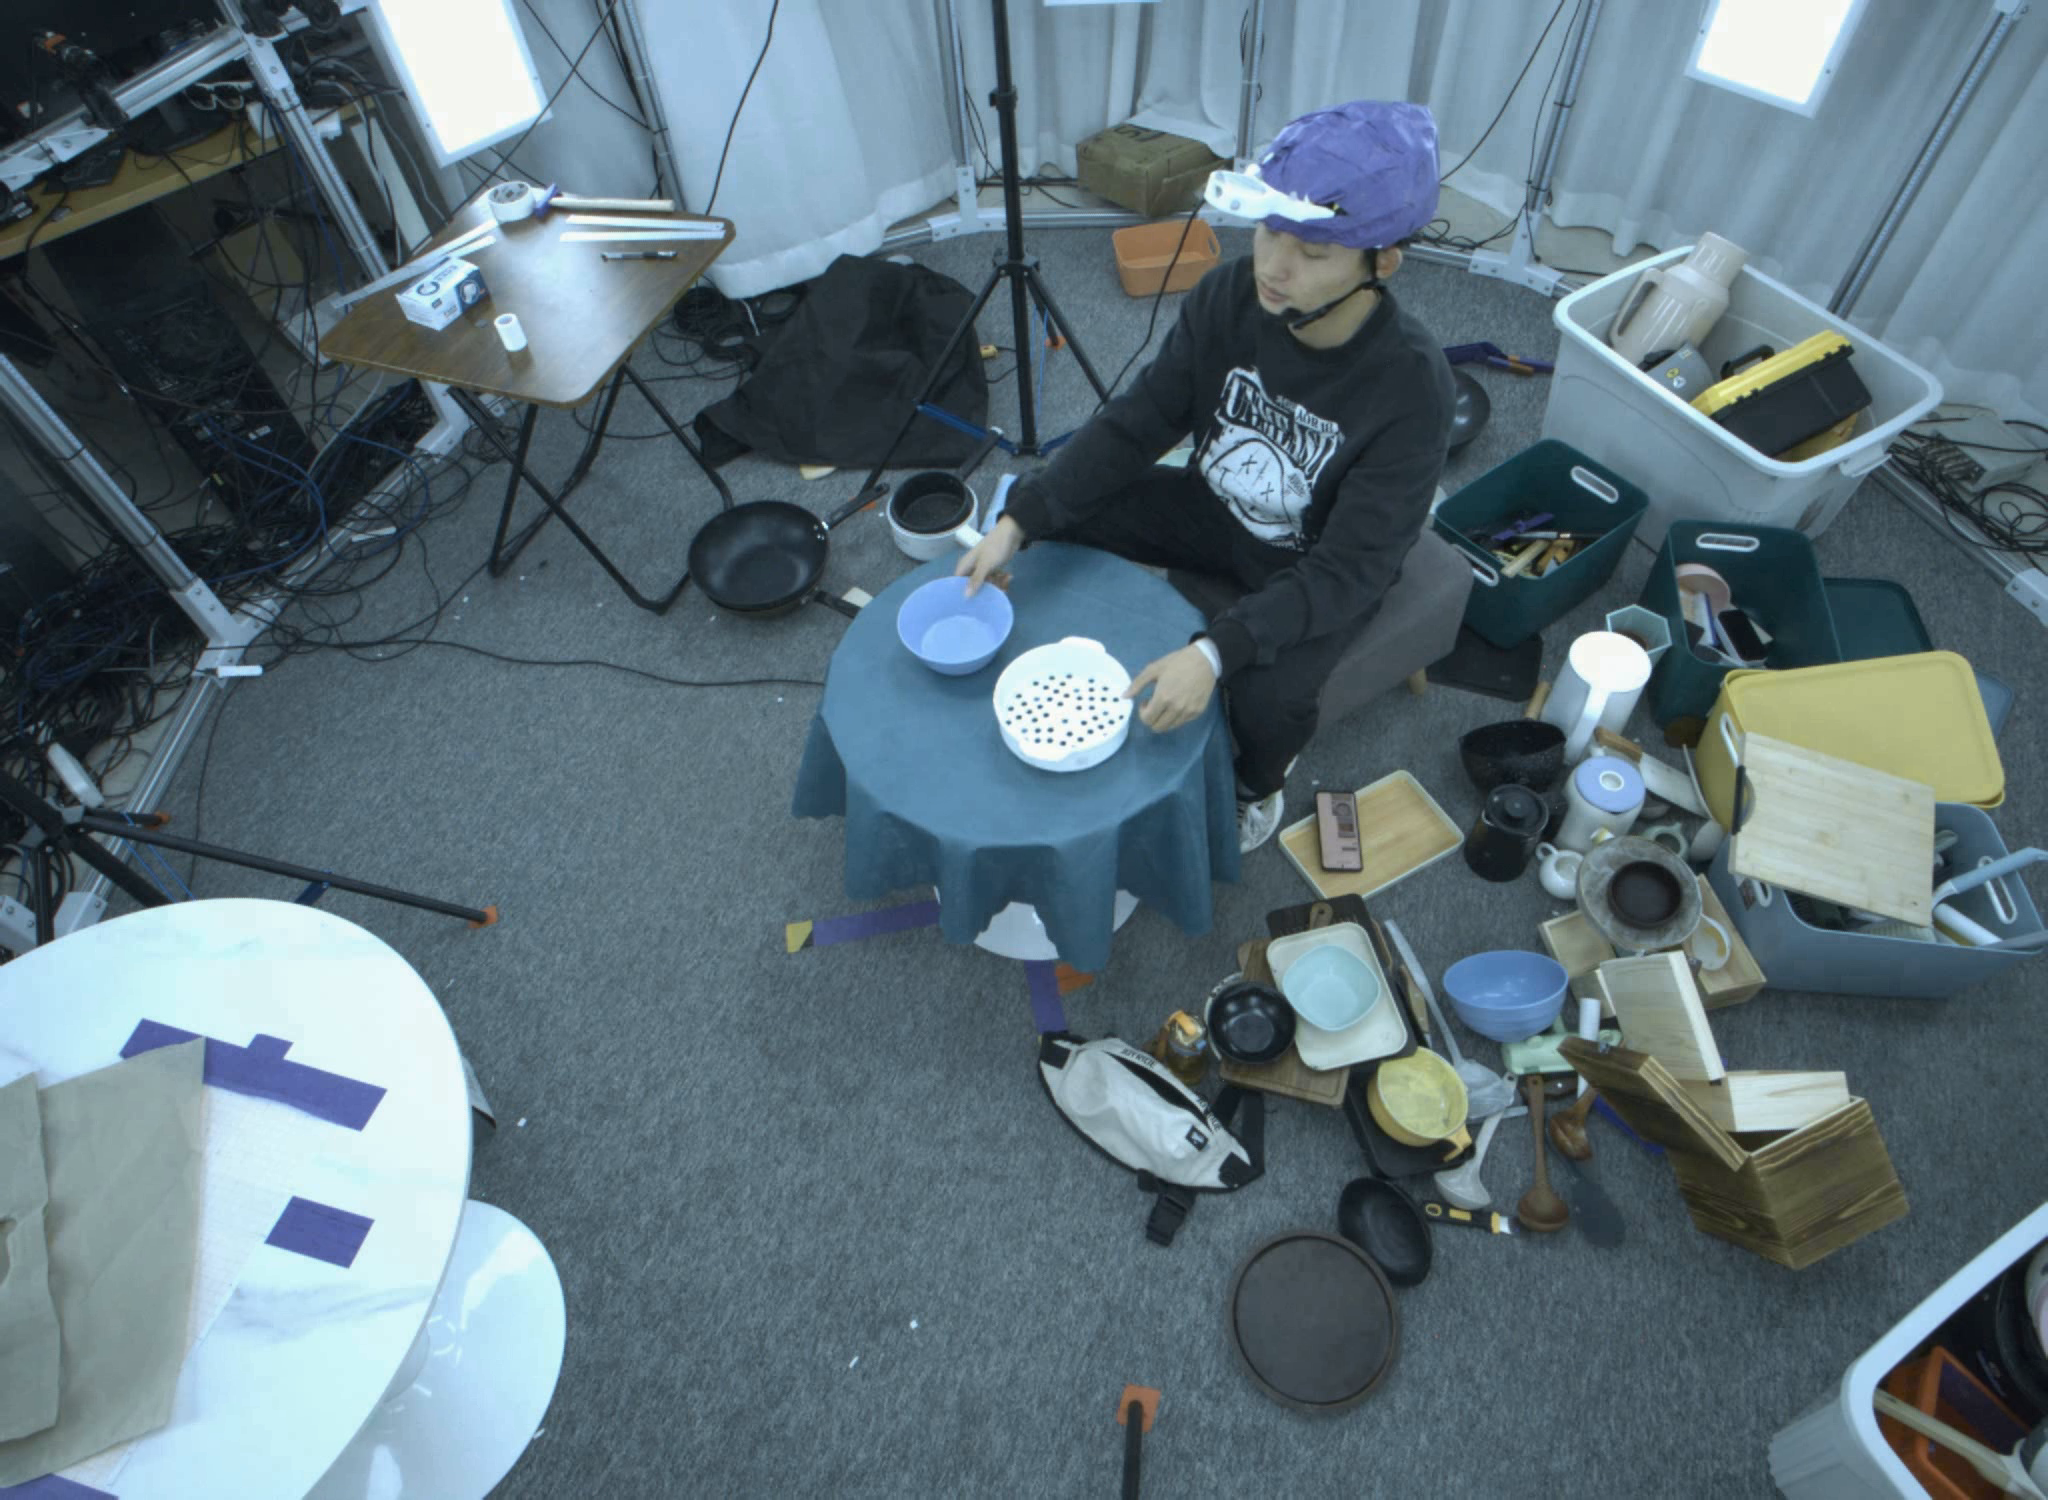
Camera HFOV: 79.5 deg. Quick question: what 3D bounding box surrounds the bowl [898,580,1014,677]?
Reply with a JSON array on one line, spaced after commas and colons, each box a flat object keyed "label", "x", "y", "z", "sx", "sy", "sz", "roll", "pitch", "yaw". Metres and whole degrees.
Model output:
[{"label": "bowl", "x": -0.102, "y": -0.177, "z": 1.881, "sx": 0.176, "sy": 0.071, "sz": 0.174, "roll": 0, "pitch": 55, "yaw": 1}]

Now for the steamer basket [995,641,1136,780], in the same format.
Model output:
[{"label": "steamer basket", "x": 0.061, "y": -0.051, "z": 1.790, "sx": 0.200, "sy": 0.070, "sz": 0.230, "roll": 12, "pitch": 59, "yaw": 11}]
